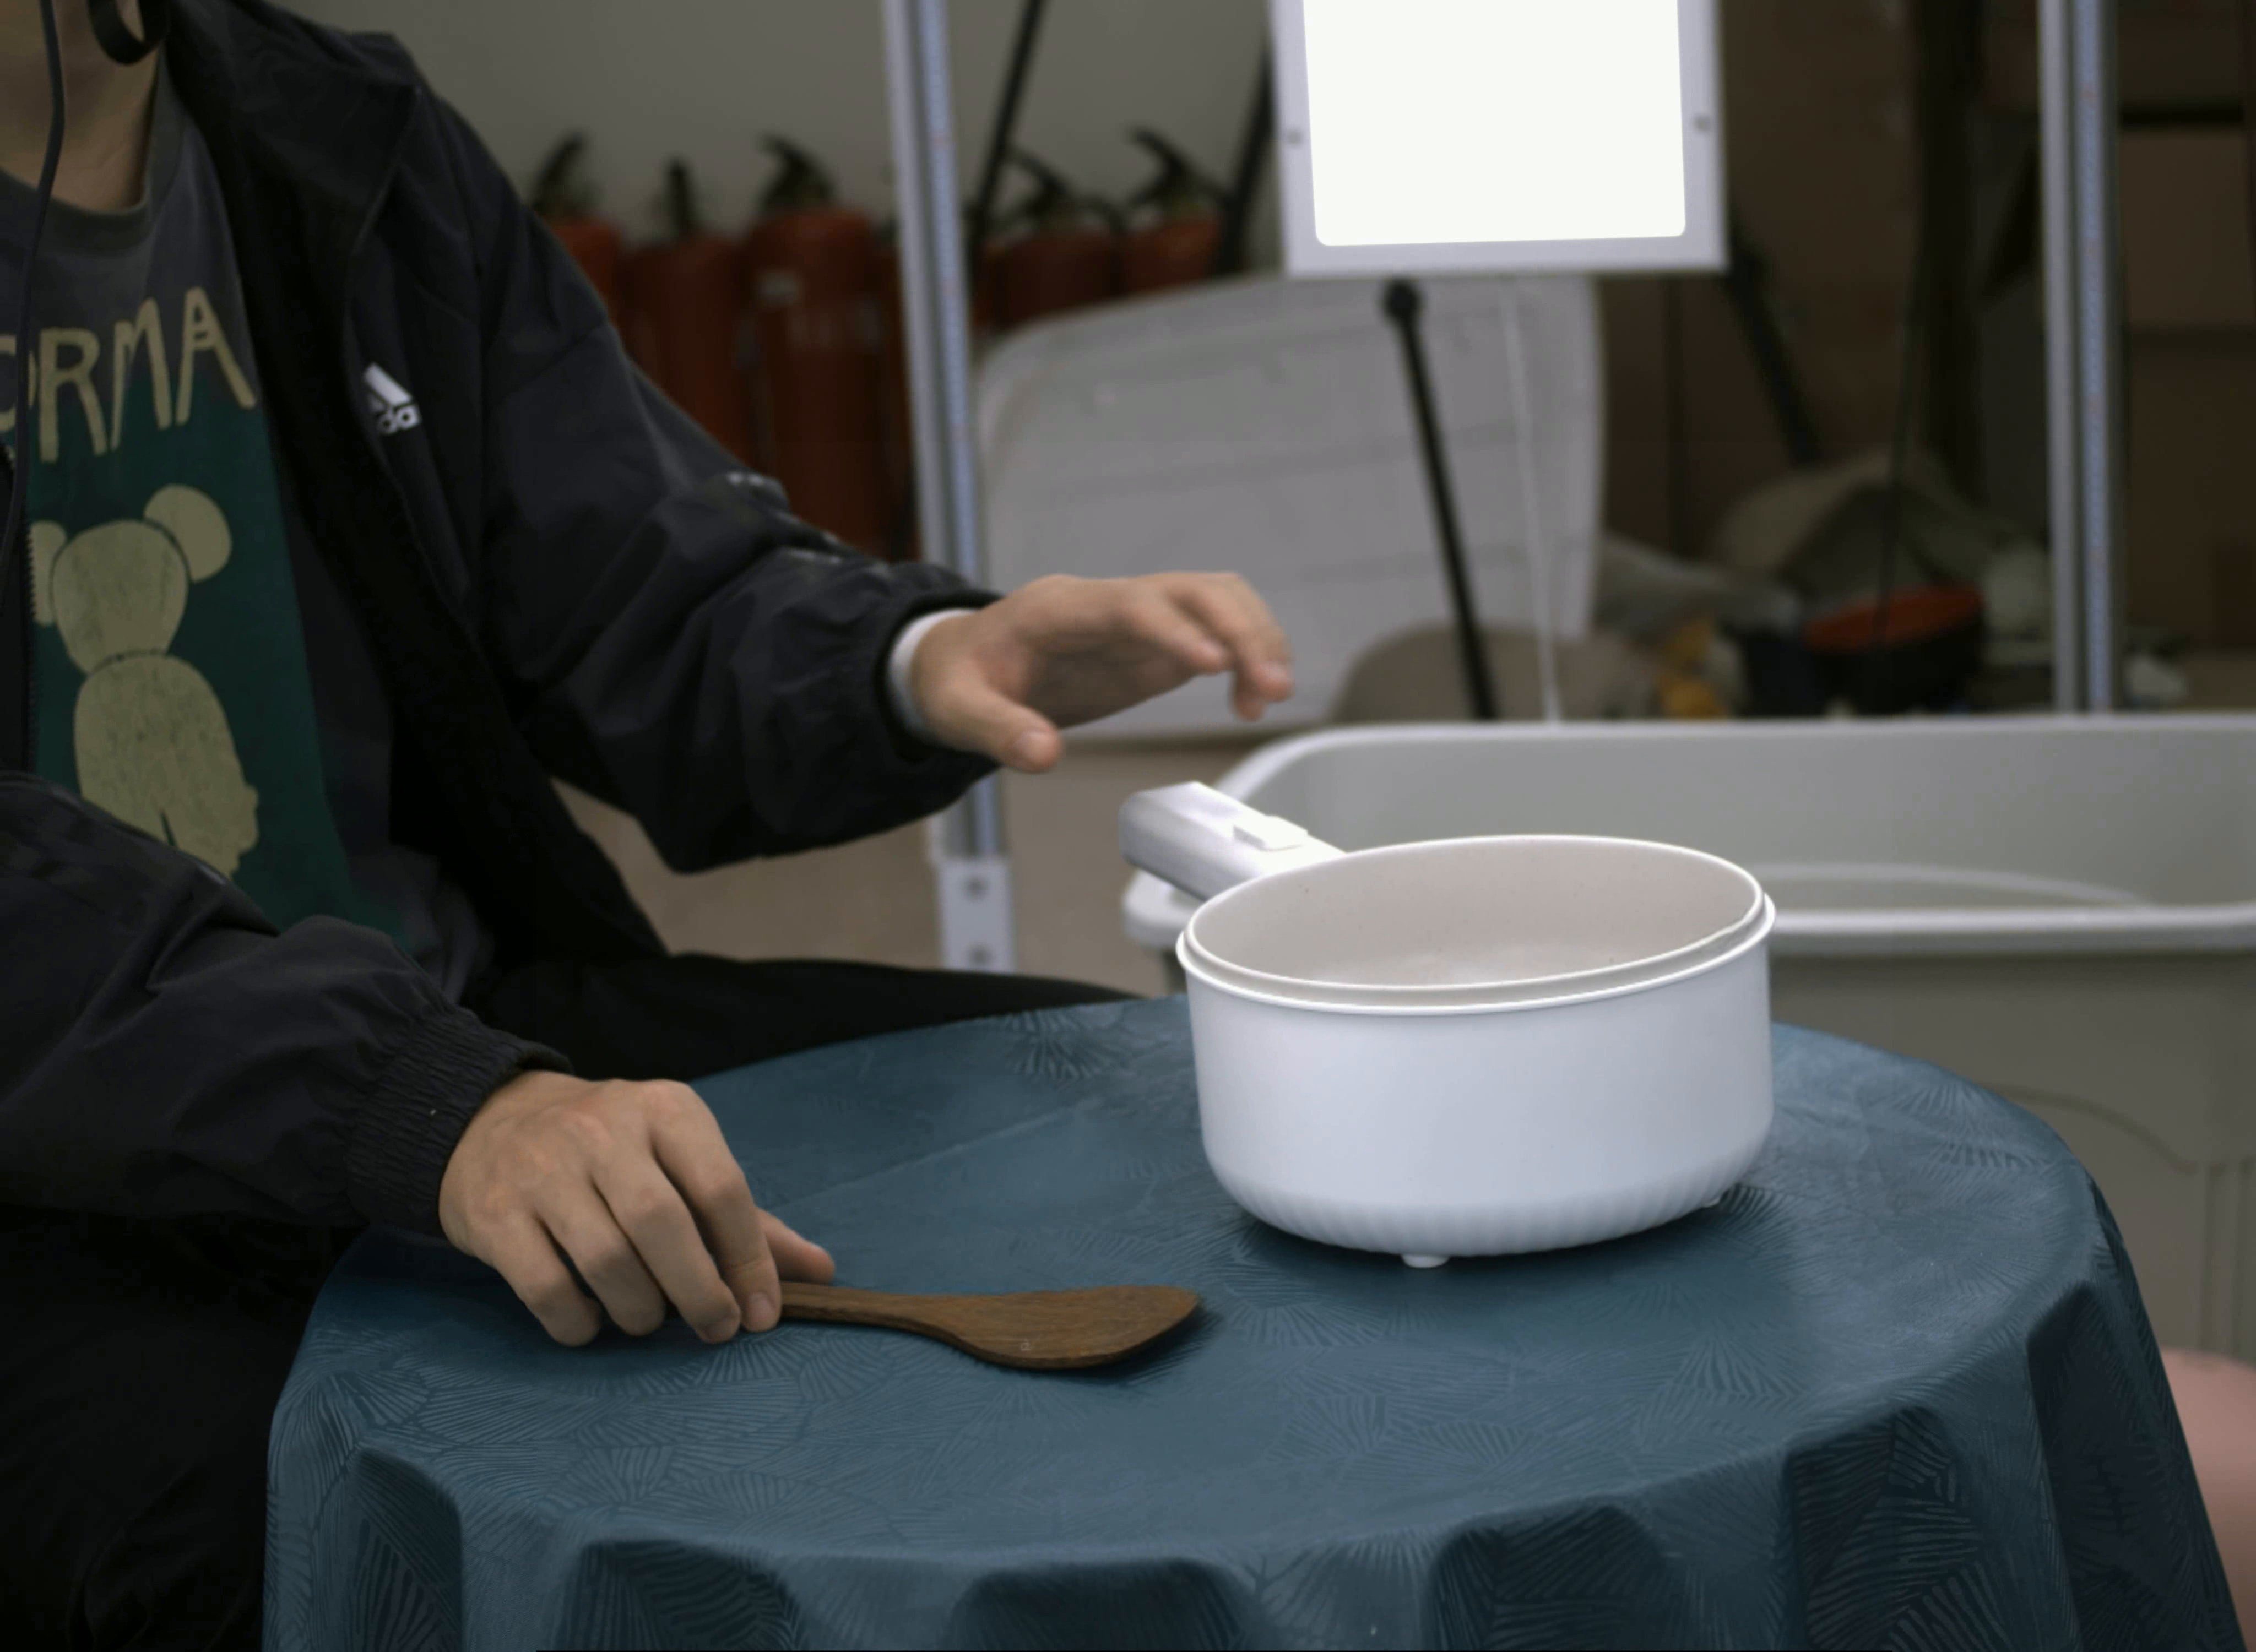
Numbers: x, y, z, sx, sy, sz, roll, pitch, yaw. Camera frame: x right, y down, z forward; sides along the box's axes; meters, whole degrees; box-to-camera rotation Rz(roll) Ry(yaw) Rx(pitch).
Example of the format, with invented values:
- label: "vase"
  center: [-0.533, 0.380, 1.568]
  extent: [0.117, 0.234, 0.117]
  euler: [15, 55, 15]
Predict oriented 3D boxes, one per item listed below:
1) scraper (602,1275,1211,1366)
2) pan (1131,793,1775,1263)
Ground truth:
- label: "scraper"
  center: [-0.076, 0.157, 1.785]
  extent: [0.215, 0.011, 0.074]
  euler: [1, 14, 29]
- label: "pan"
  center: [0.089, 0.063, 1.918]
  extent: [0.197, 0.102, 0.360]
  euler: [-11, 13, -21]
